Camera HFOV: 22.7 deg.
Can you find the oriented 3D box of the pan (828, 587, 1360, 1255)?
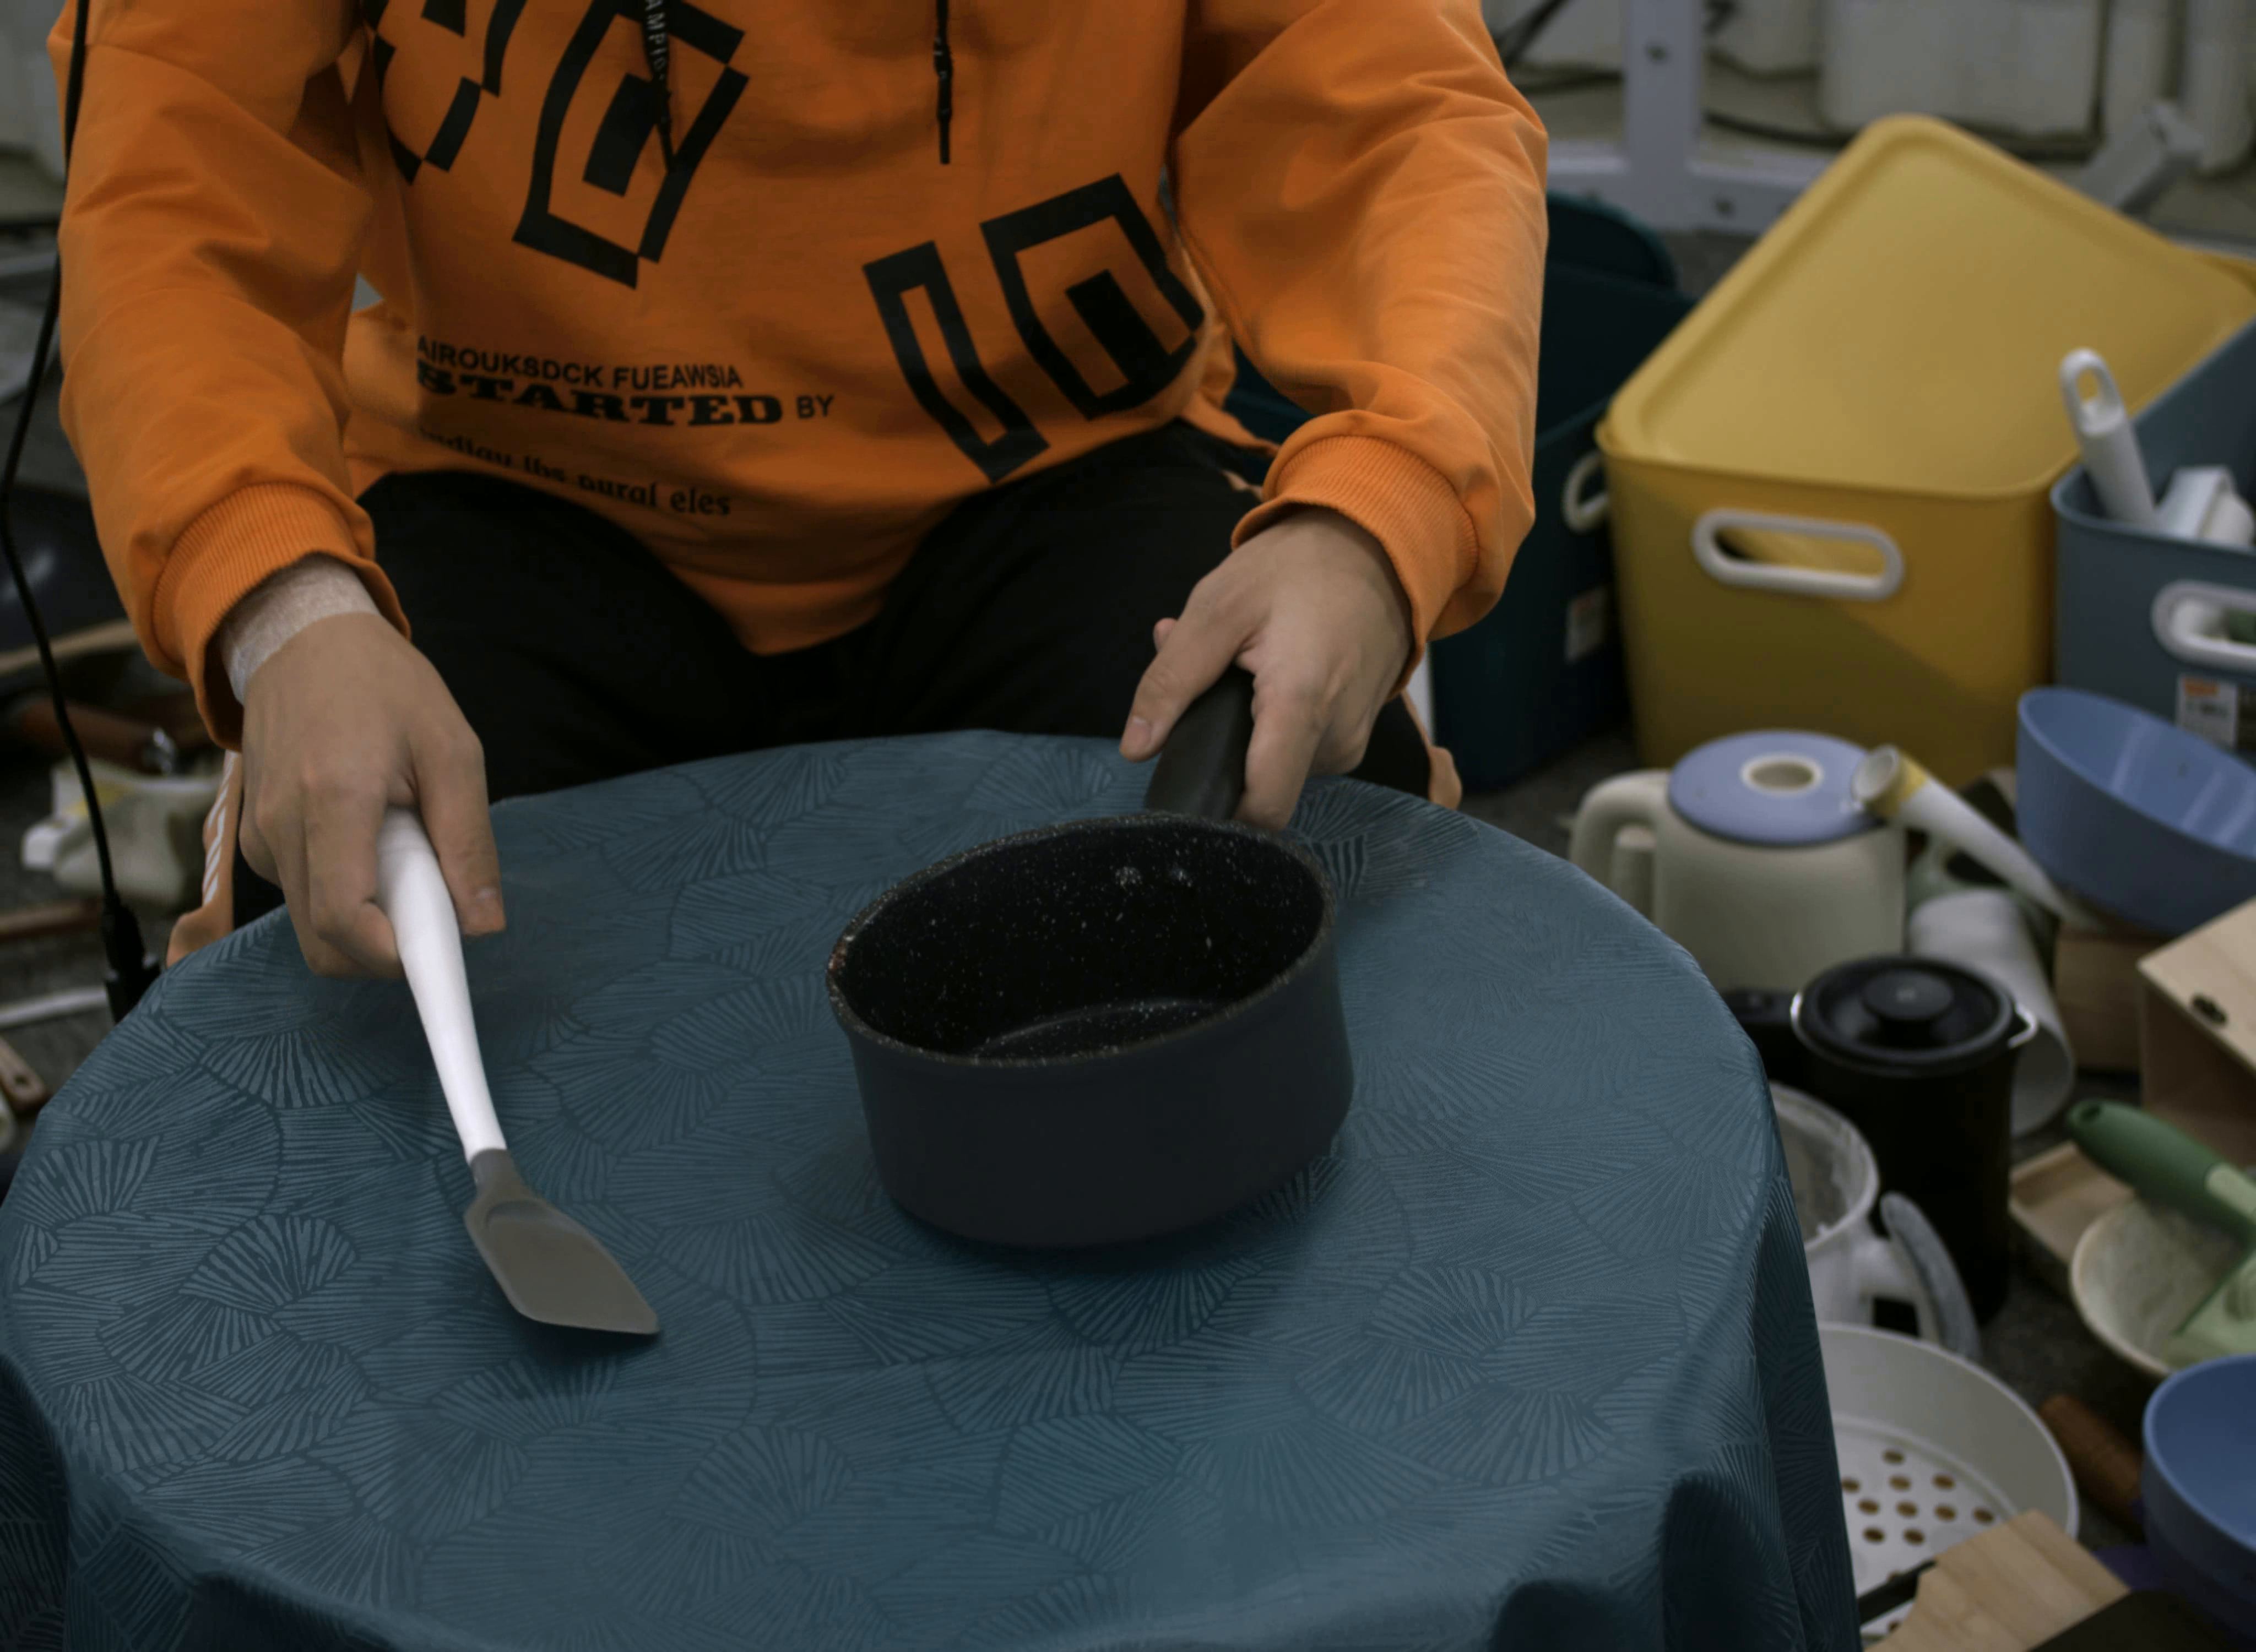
[{"bbox_3d":[0.015,0.029,1.928,0.170,0.085,0.335,2,29,19],"label":"pan"}]

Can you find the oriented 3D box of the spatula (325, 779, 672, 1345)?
[{"bbox_3d":[-0.219,0.083,1.883,0.058,0.032,0.291,13,30,-33],"label":"spatula"}]
